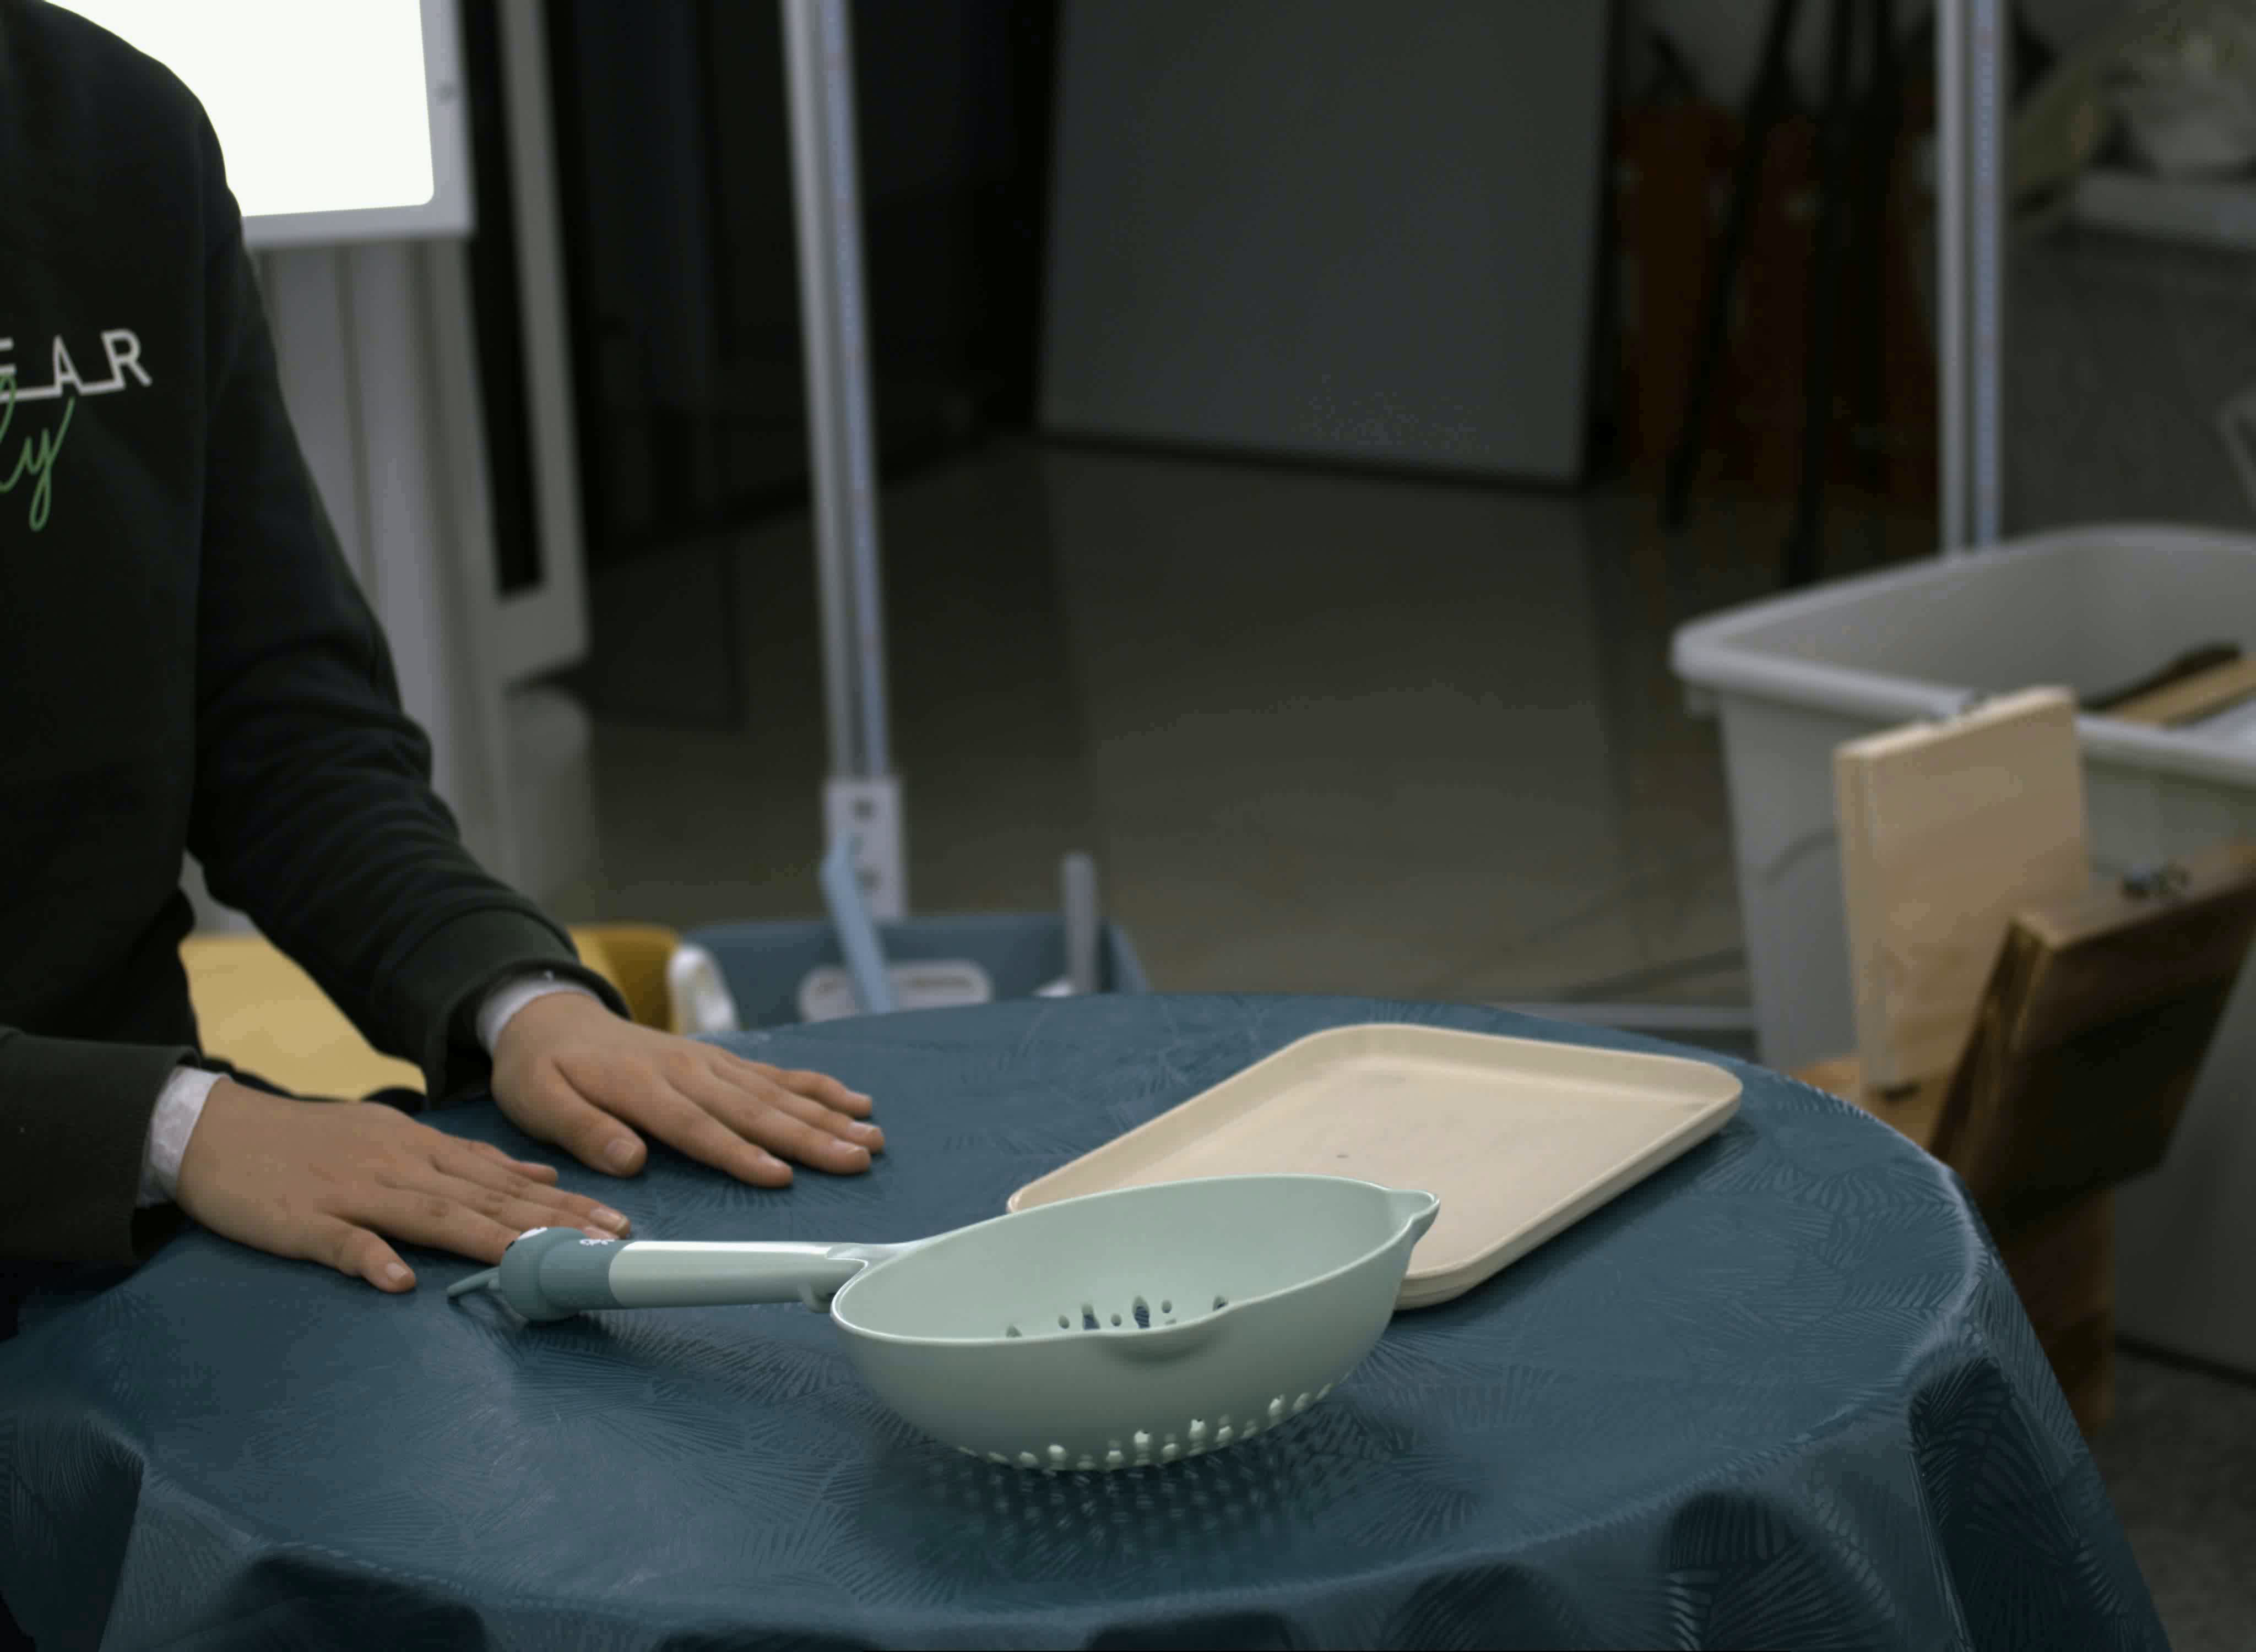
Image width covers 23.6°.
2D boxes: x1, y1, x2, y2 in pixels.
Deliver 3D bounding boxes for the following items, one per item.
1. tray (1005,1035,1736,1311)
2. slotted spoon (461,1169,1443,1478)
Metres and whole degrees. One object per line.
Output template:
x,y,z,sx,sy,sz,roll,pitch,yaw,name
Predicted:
0.082,0.112,1.752,0.172,0.017,0.236,5,16,32,tray
-0.072,0.138,1.593,0.361,0.076,0.166,7,17,39,slotted spoon
